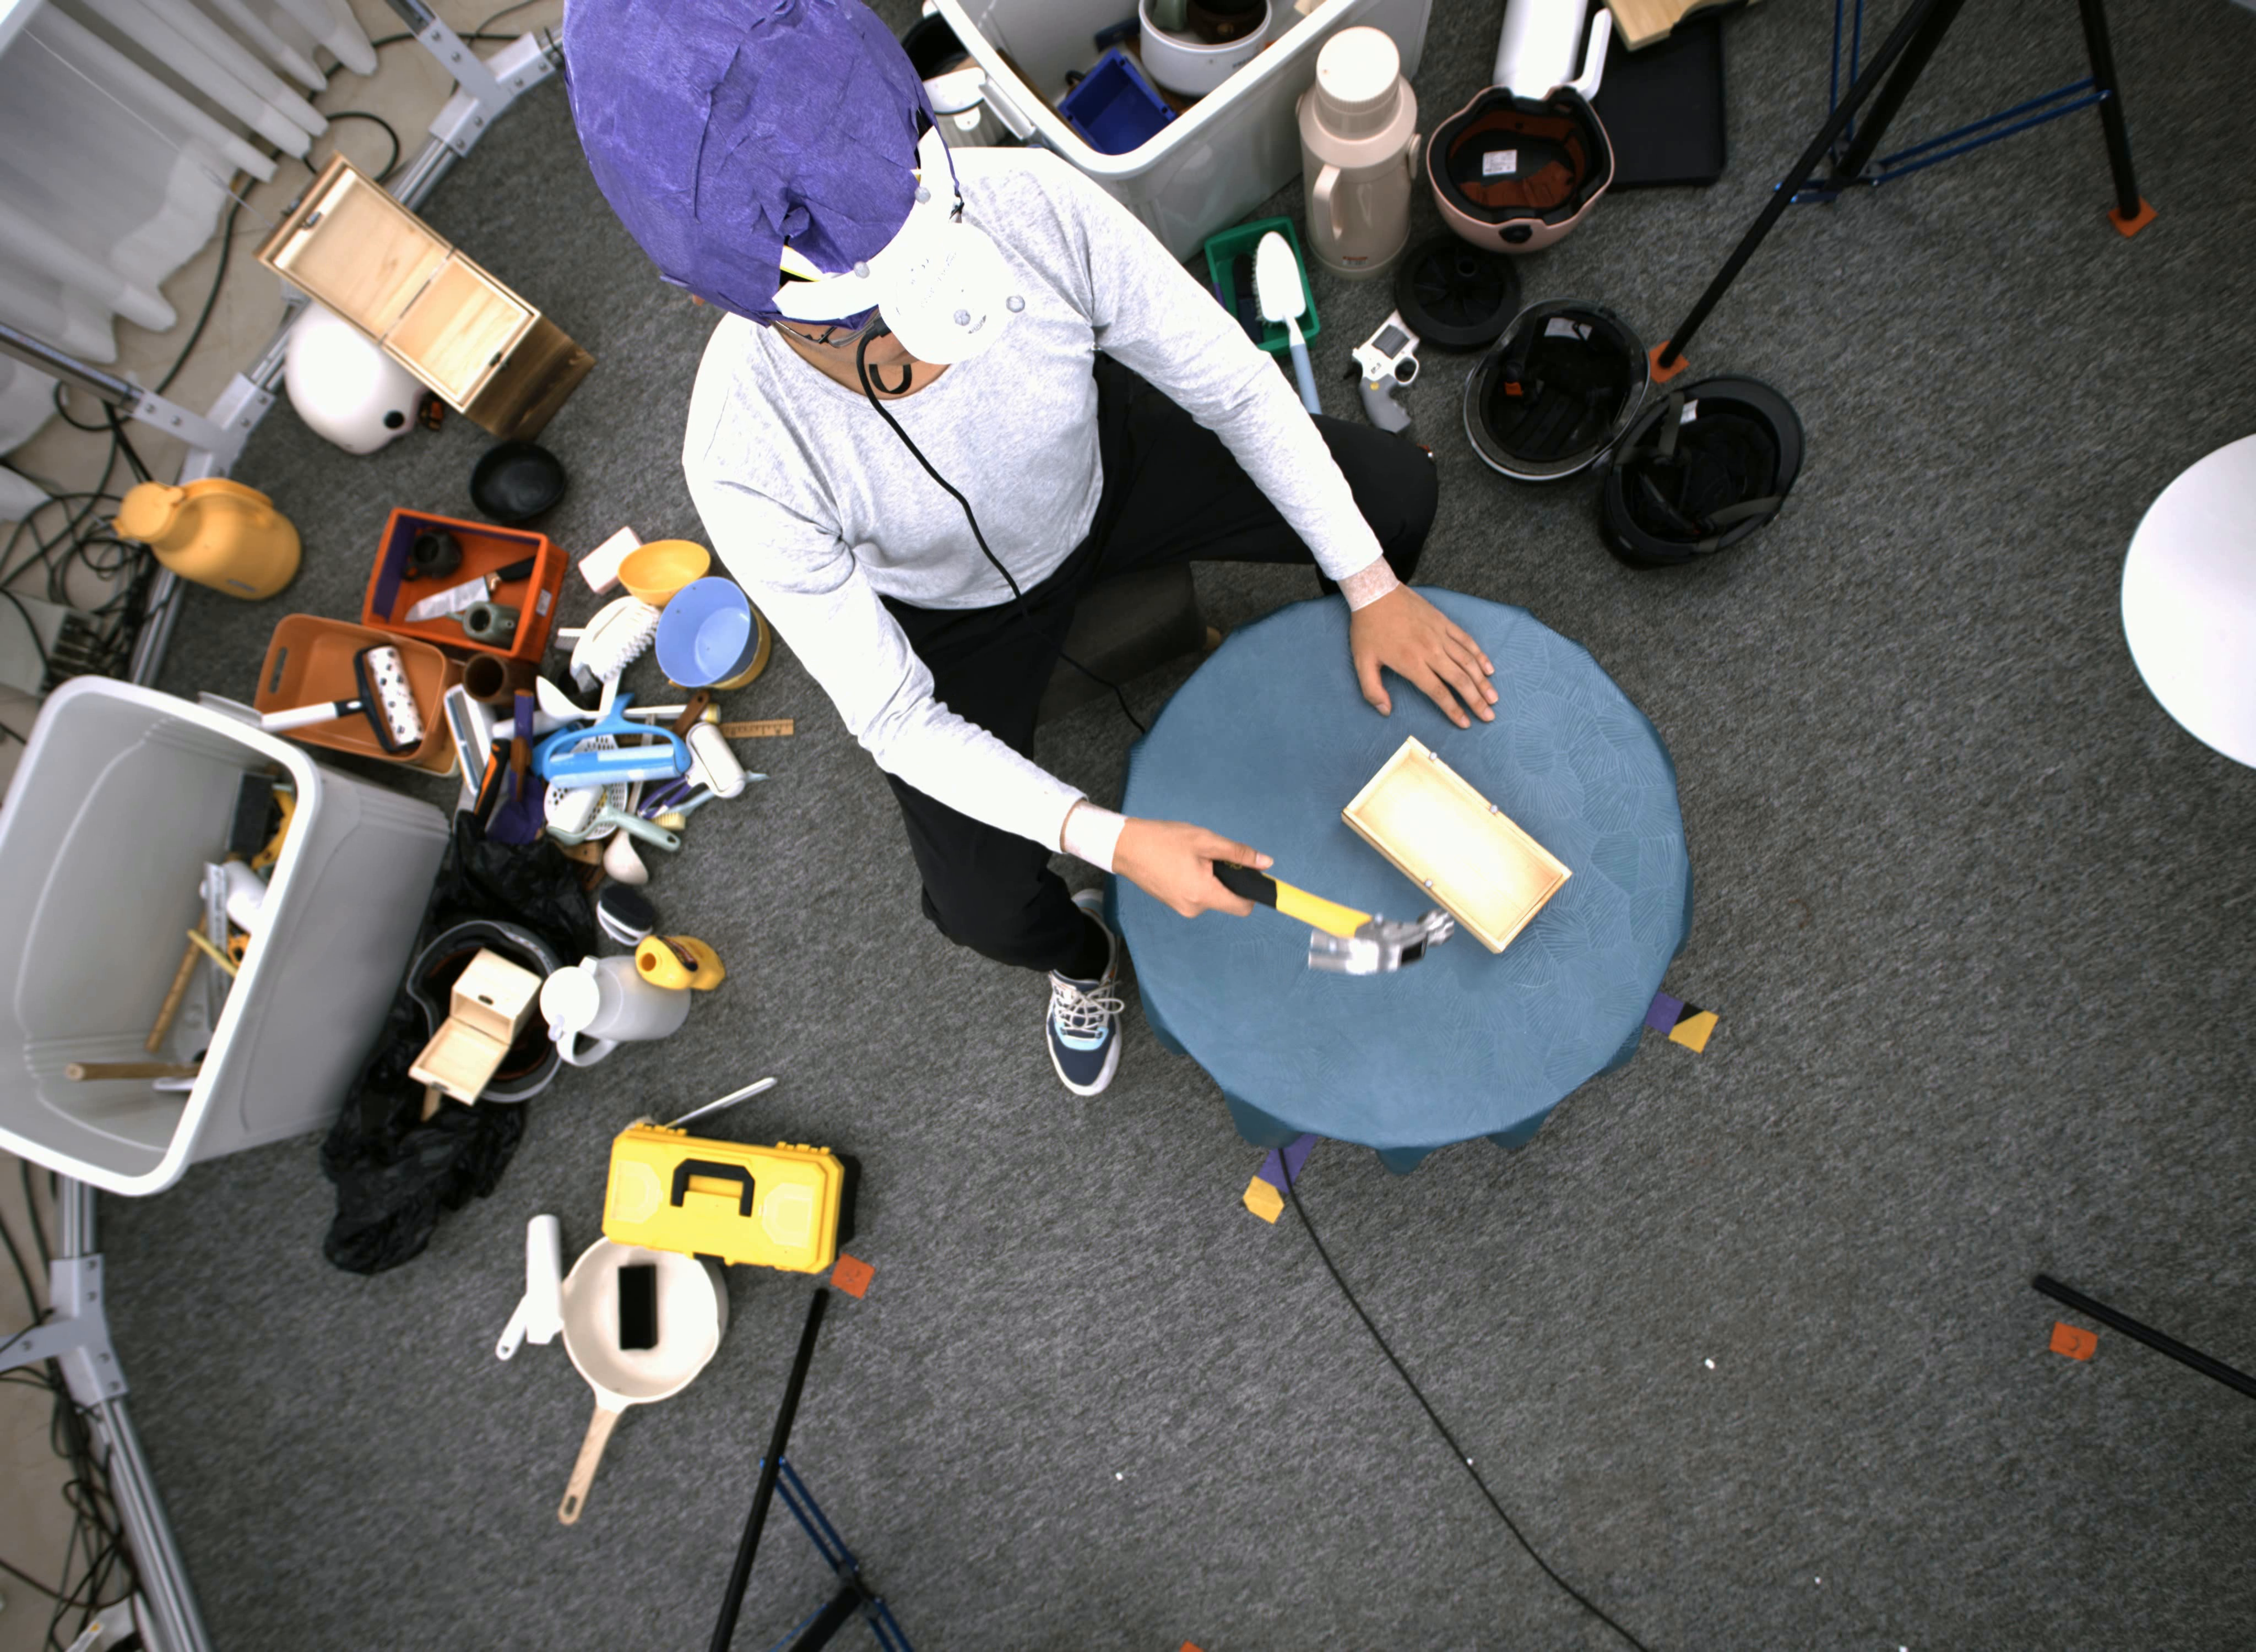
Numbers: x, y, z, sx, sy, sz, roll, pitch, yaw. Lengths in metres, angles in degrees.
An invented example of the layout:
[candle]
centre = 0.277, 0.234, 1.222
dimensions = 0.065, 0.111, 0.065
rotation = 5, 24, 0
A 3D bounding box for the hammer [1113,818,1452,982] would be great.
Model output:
[hammer]
centre = 0.116, 0.057, 1.253
dimensions = 0.337, 0.129, 0.033
rotation = 24, 123, 38

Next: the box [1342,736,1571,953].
[box]
centre = 0.334, 0.019, 1.412
dimensions = 0.210, 0.080, 0.108
rotation = 42, 94, 10
